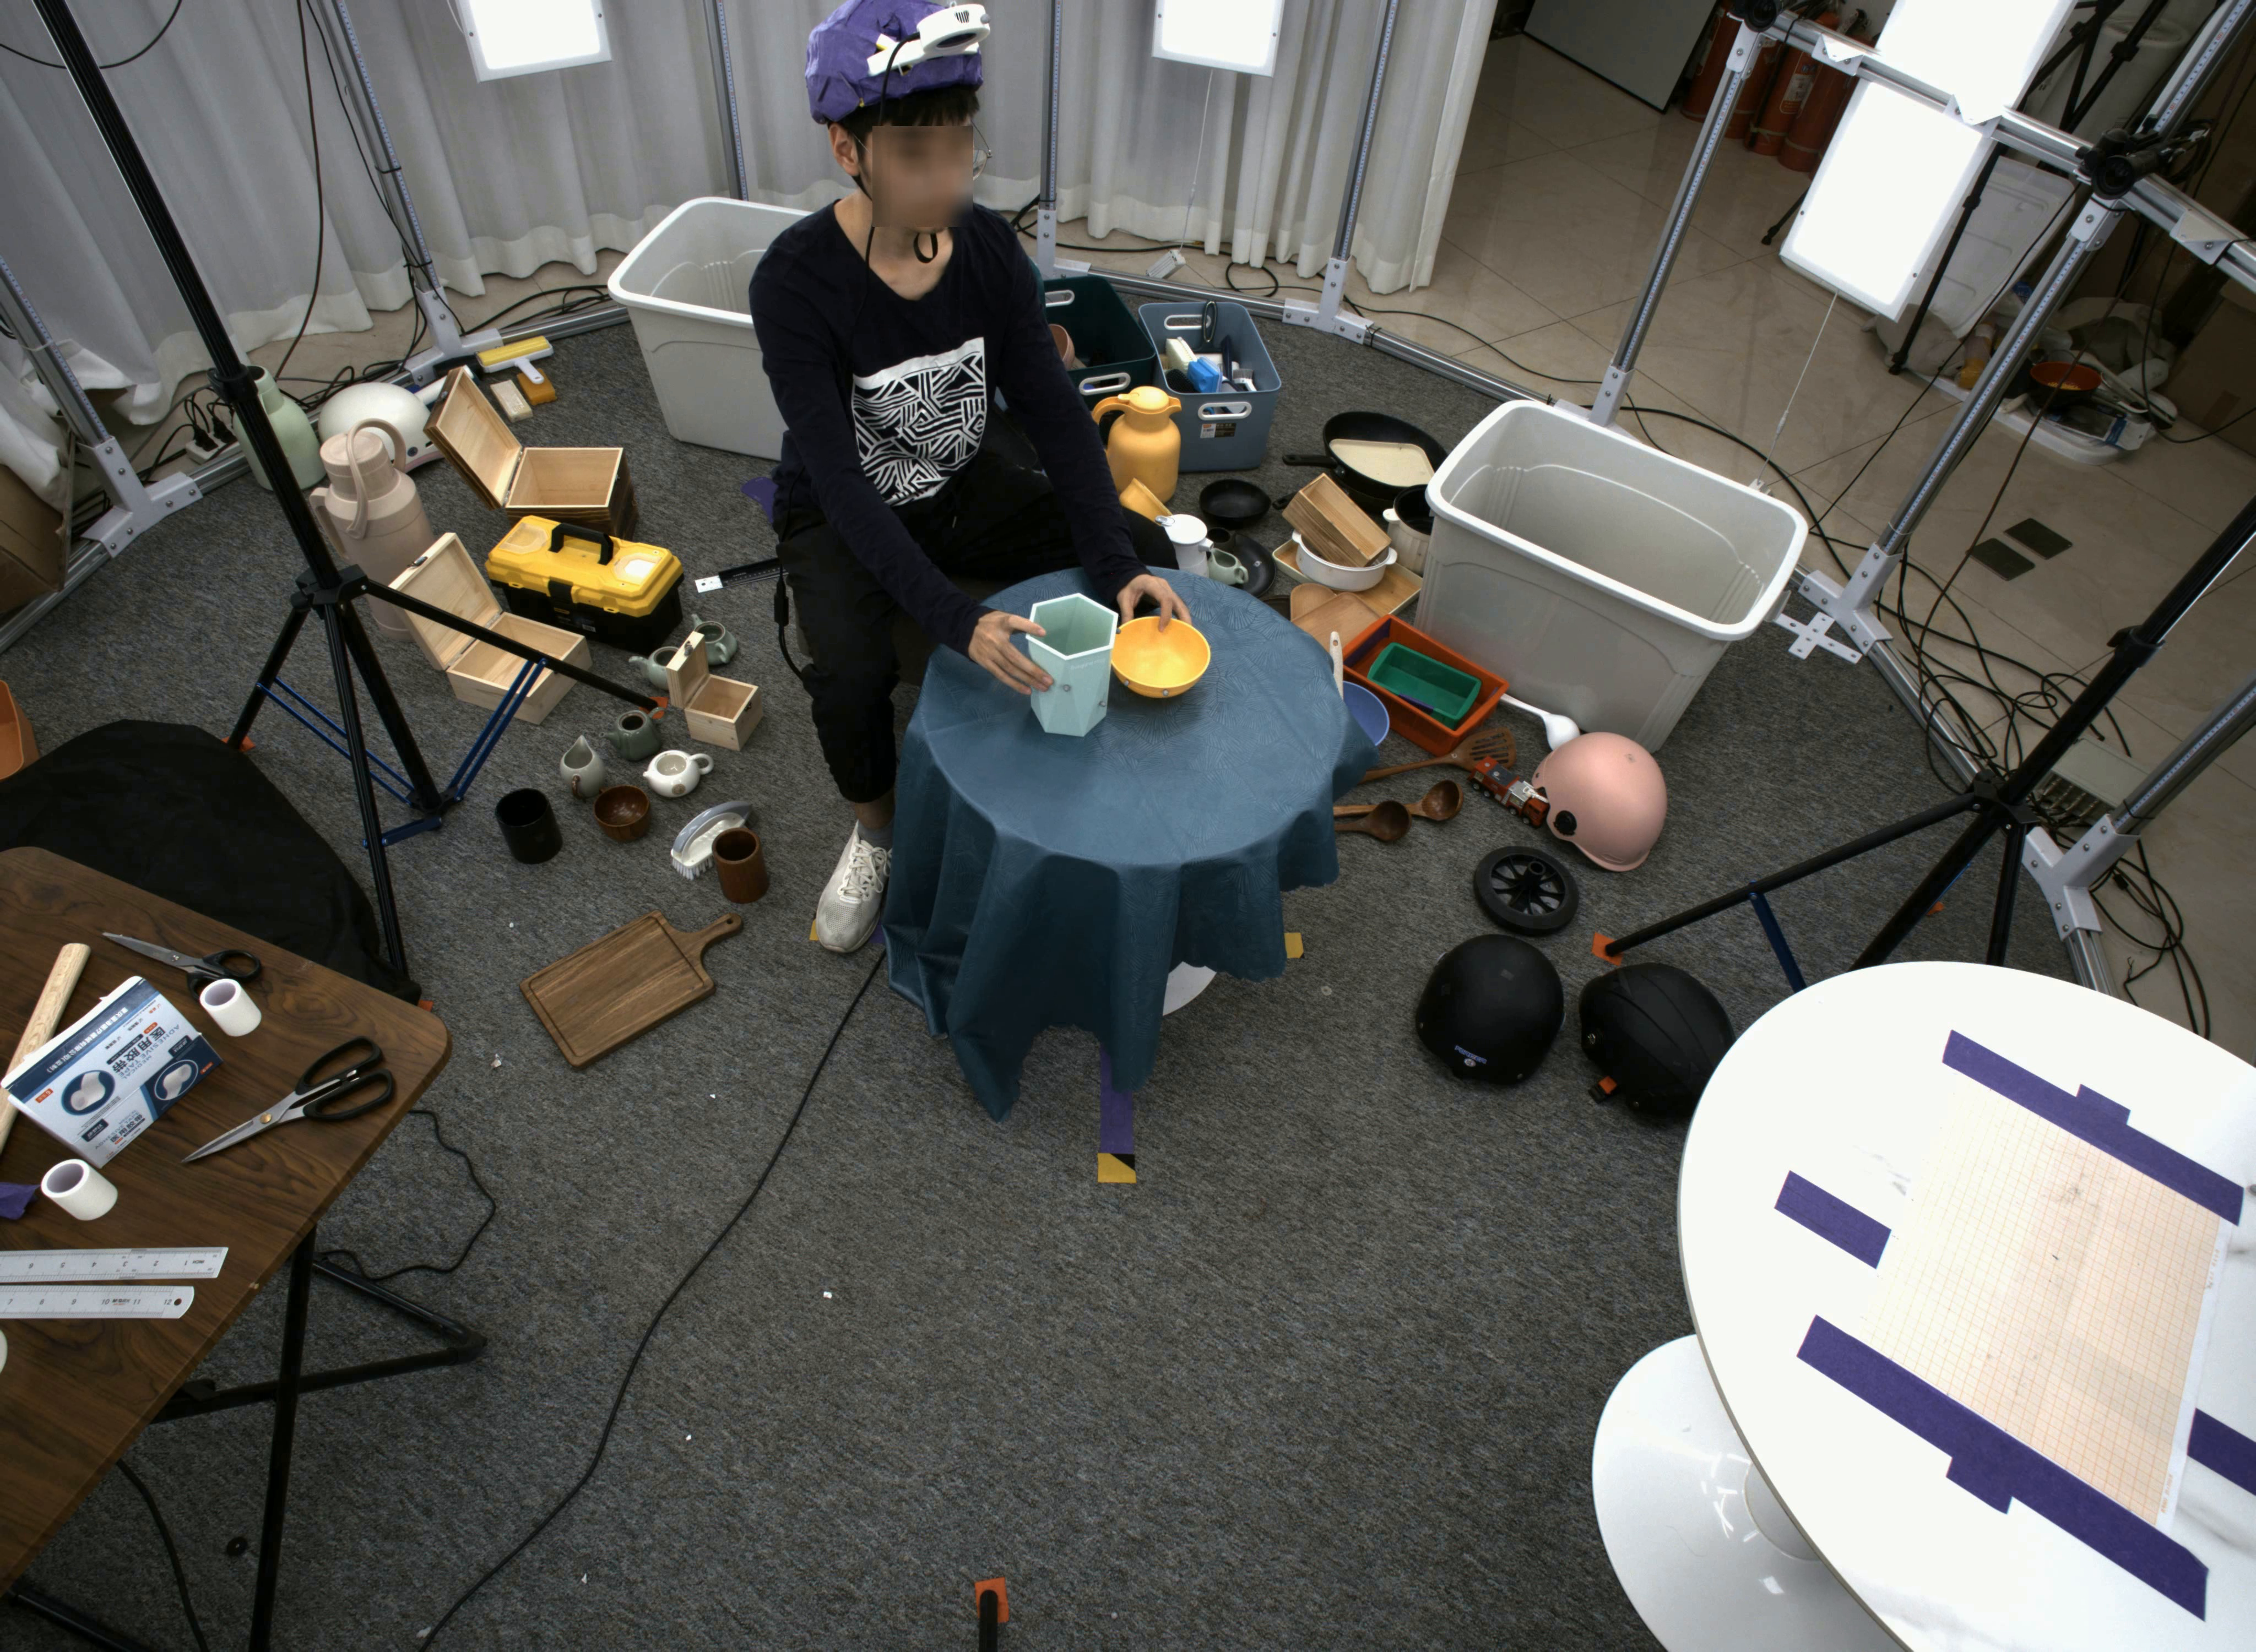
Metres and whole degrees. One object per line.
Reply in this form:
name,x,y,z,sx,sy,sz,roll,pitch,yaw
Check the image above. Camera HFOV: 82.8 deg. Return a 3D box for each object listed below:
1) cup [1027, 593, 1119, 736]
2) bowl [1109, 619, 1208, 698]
cup,-0.076,-0.213,1.742,0.131,0.159,0.118,-17,51,-19
bowl,0.040,-0.228,1.834,0.145,0.058,0.149,2,47,-2
